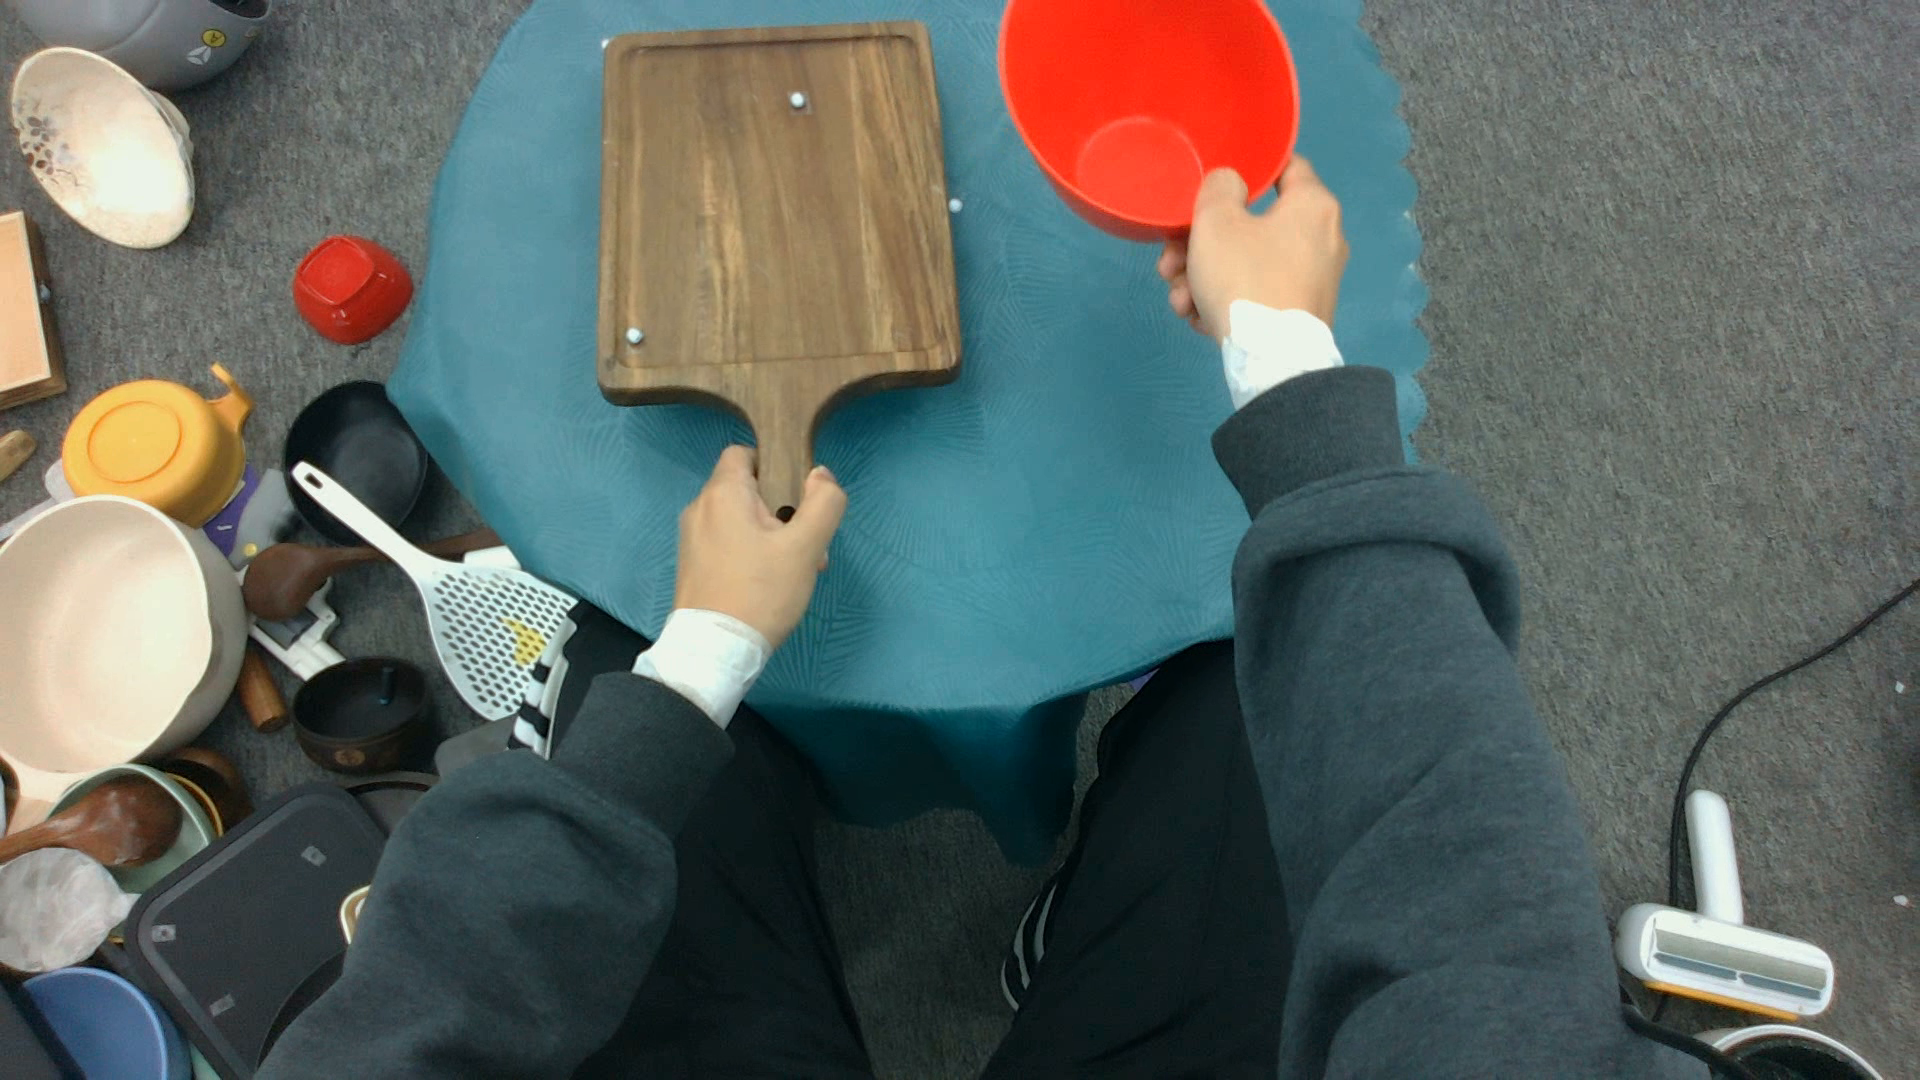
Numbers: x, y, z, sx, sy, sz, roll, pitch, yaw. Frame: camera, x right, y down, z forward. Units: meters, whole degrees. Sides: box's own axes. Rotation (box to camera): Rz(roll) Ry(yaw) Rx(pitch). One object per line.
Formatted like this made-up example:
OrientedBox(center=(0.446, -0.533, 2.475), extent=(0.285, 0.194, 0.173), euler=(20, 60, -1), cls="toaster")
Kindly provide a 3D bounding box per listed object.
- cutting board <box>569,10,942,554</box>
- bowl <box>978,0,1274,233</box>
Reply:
OrientedBox(center=(-0.116, -0.155, 0.768), extent=(0.201, 0.023, 0.353), euler=(-5, 65, -5), cls="cutting board")
OrientedBox(center=(0.078, -0.214, 0.696), extent=(0.148, 0.104, 0.148), euler=(1, 74, -5), cls="bowl")
